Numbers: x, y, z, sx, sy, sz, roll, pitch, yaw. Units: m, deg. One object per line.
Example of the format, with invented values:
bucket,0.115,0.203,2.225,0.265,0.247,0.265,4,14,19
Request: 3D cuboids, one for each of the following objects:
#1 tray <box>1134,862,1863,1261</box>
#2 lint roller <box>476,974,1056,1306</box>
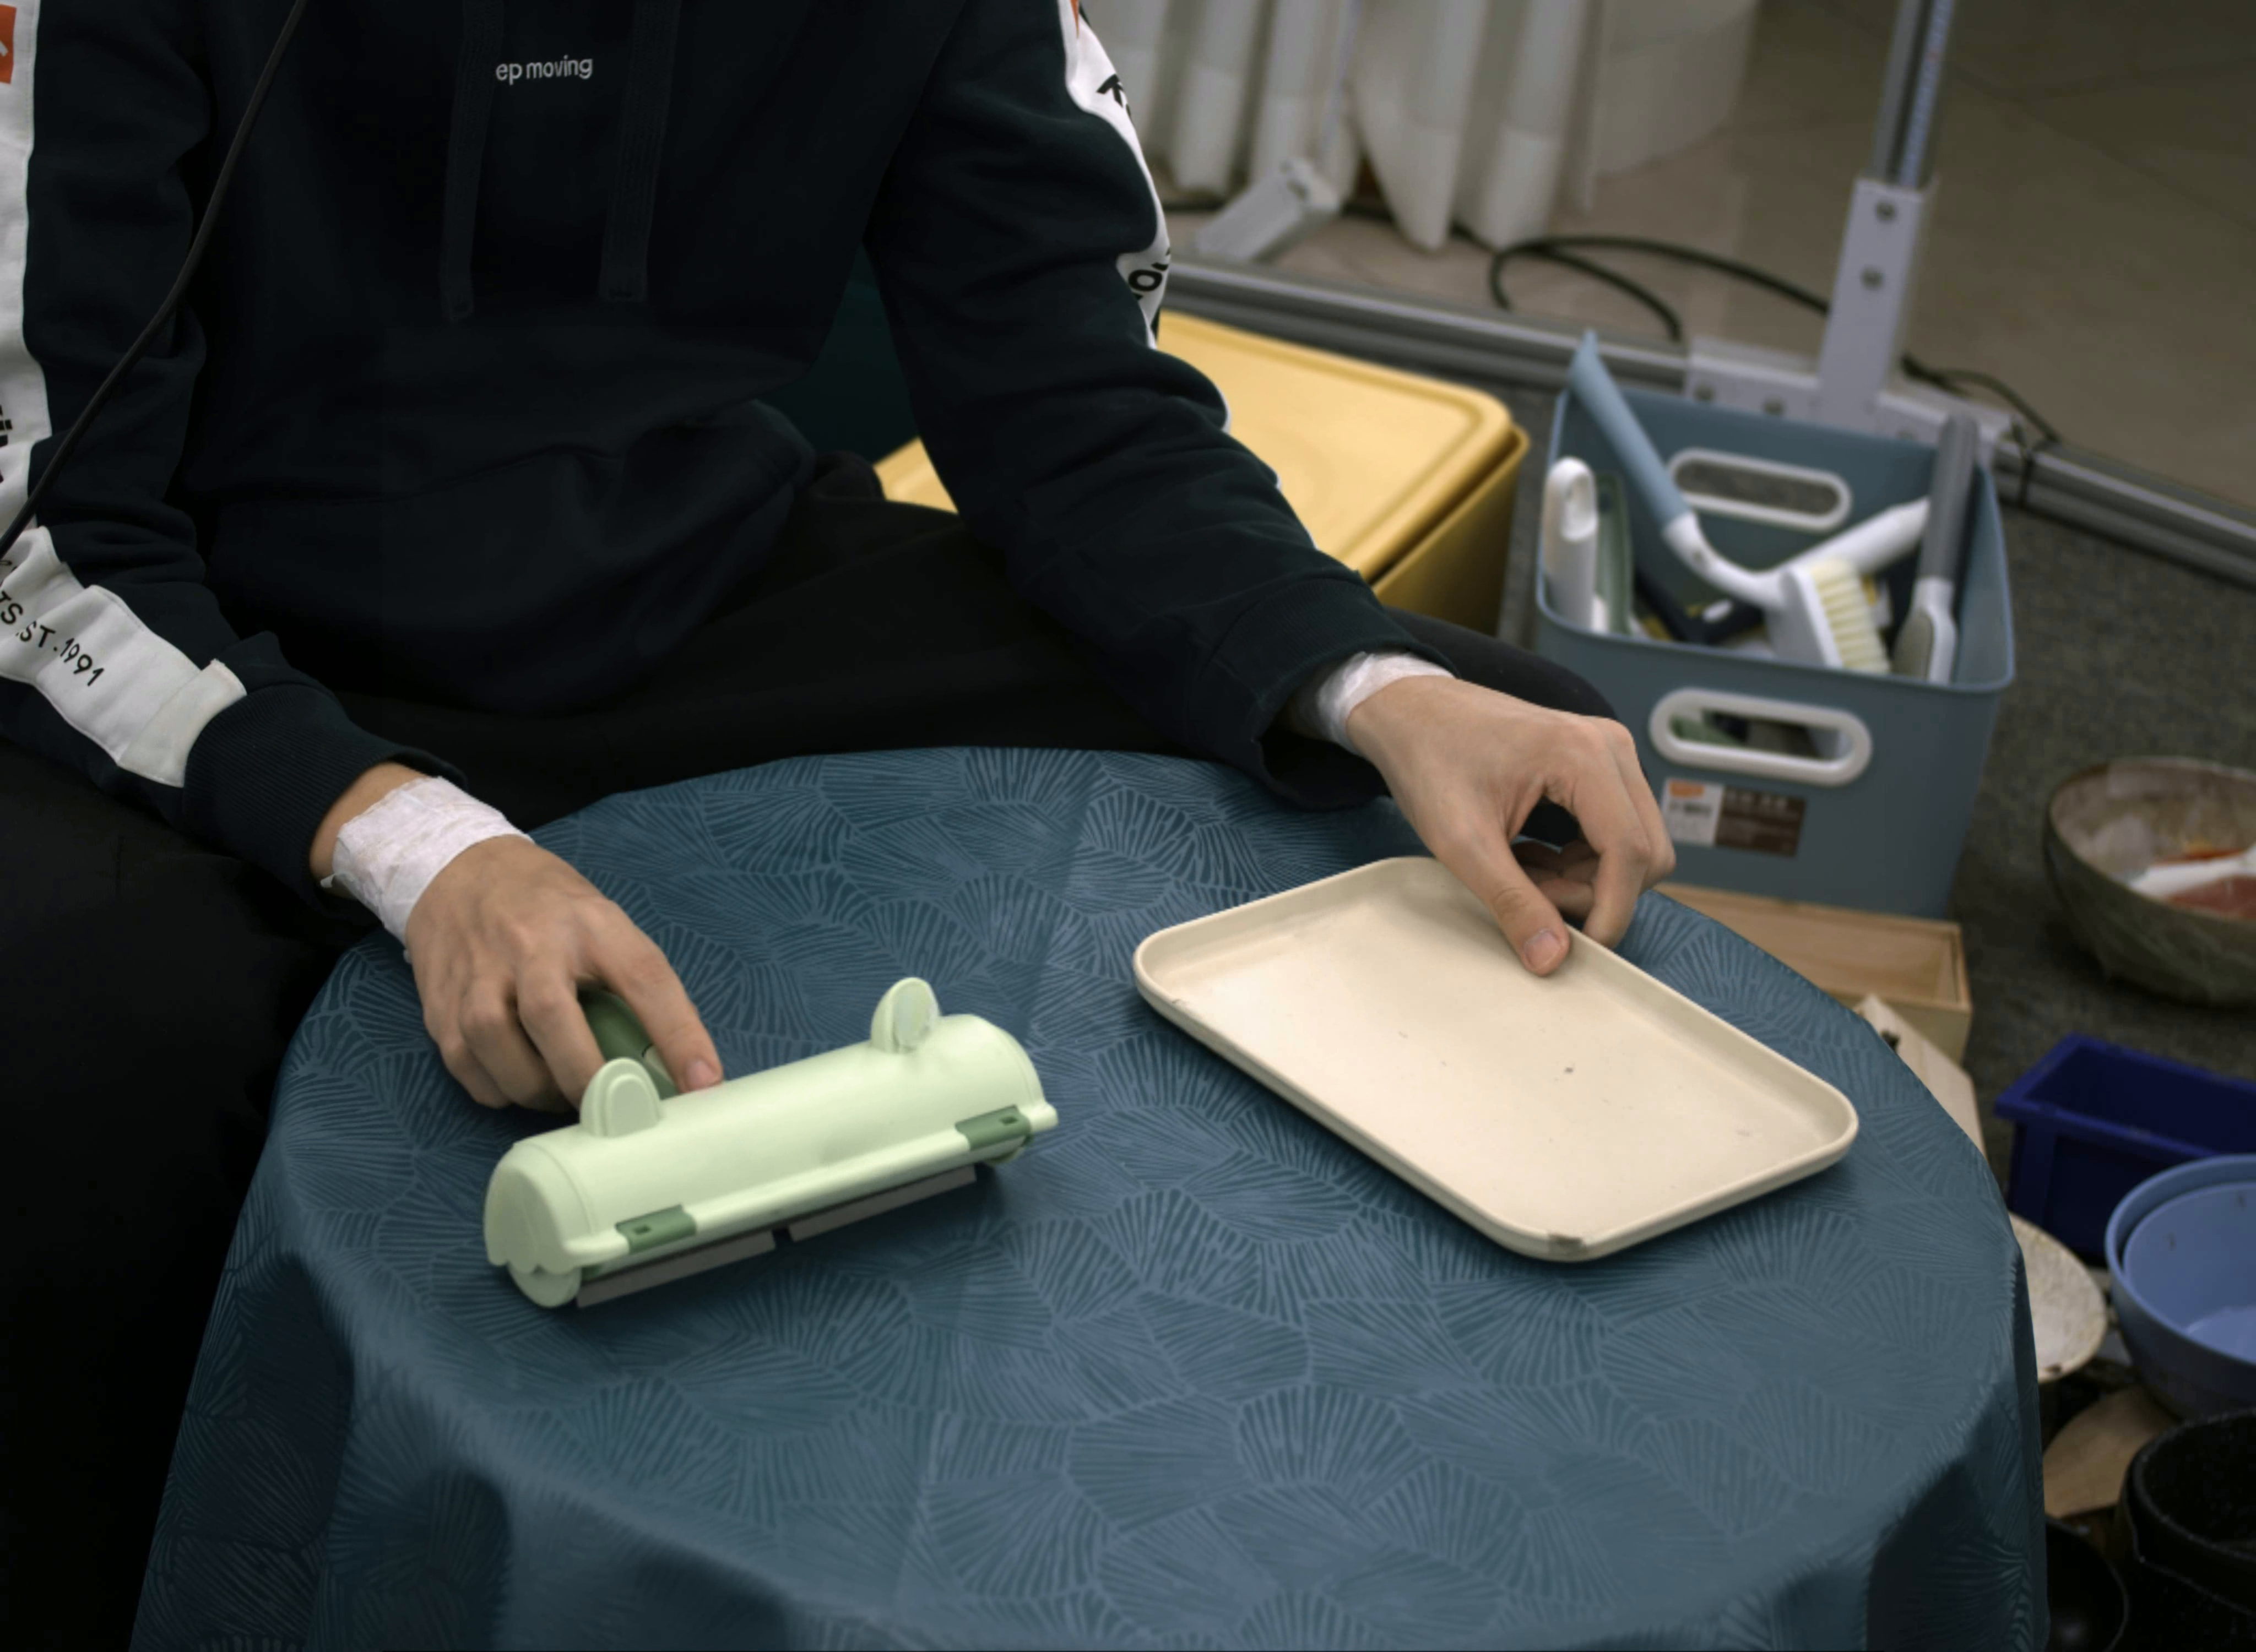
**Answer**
tray,0.129,0.082,1.889,0.170,0.017,0.241,-16,34,-38
lint roller,-0.151,0.076,1.774,0.197,0.082,0.185,-15,38,-36
